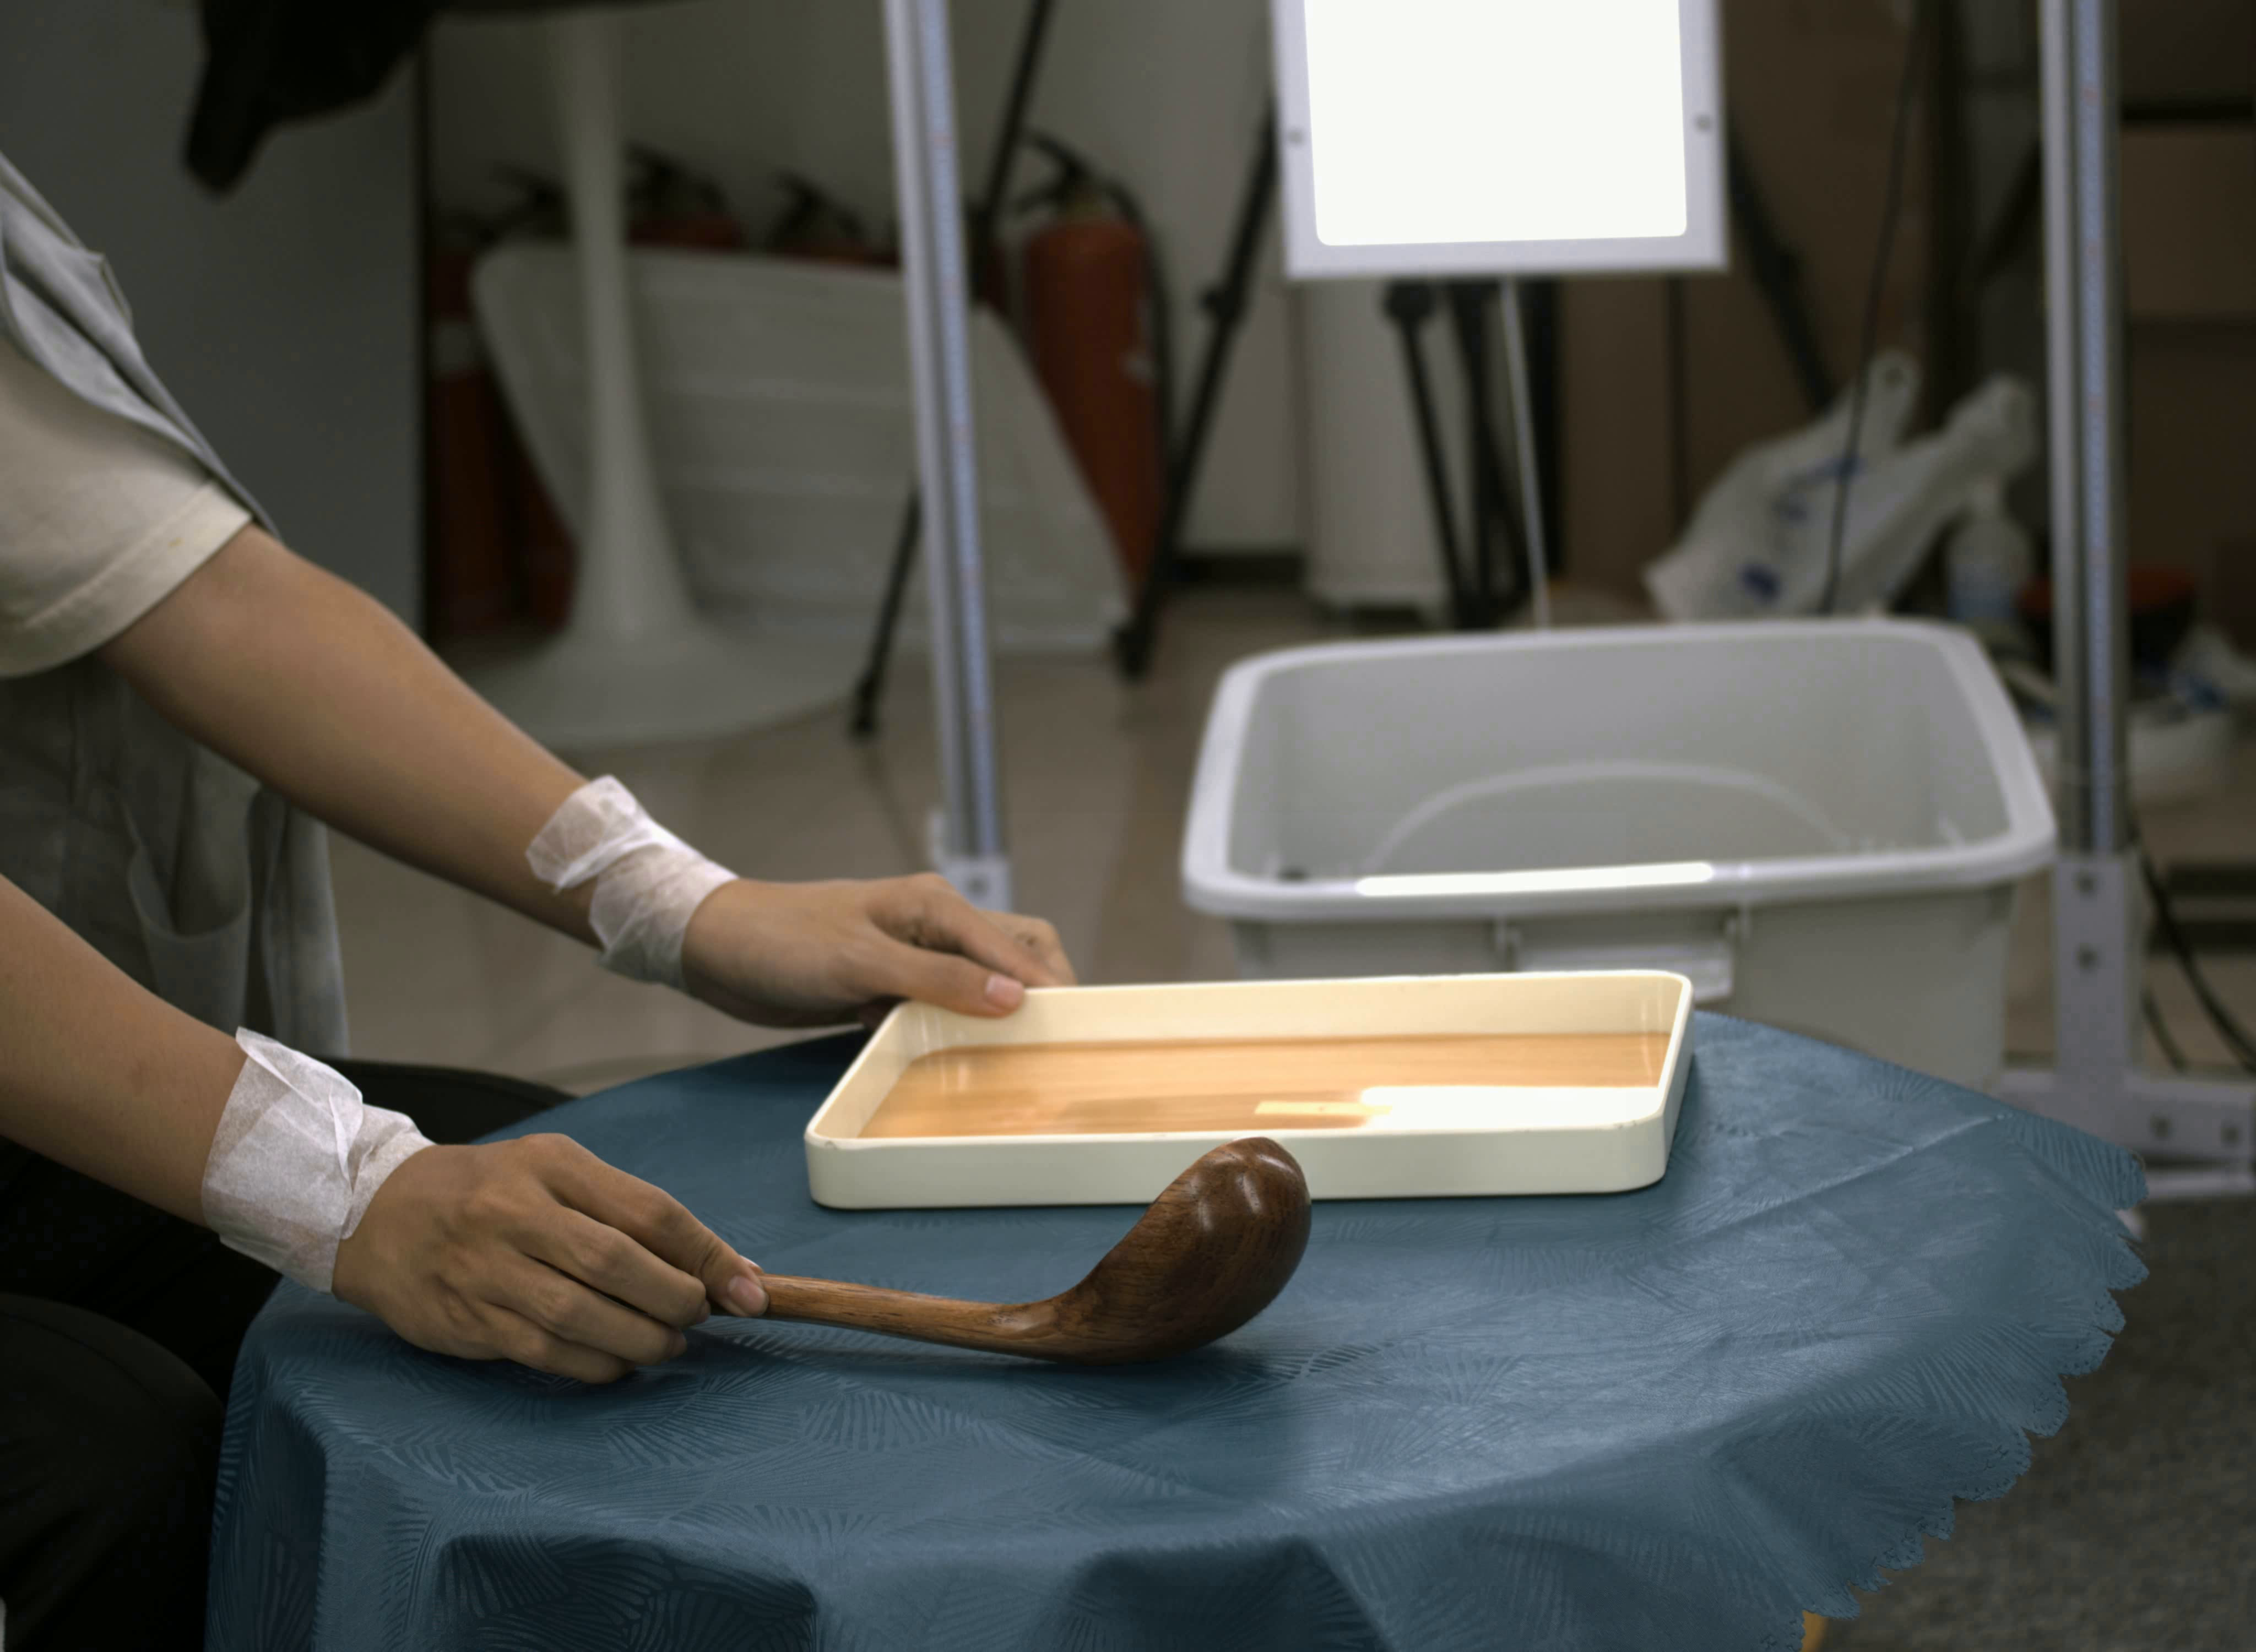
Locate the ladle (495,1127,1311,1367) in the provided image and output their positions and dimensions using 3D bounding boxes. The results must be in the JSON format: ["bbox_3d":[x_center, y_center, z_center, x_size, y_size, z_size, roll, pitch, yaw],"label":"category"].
[{"bbox_3d":[-0.074,0.129,1.756,0.278,0.076,0.081,1,-22,25],"label":"ladle"}]

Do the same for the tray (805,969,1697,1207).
[{"bbox_3d":[0.048,0.093,1.960,0.302,0.027,0.189,-2,14,13],"label":"tray"}]
